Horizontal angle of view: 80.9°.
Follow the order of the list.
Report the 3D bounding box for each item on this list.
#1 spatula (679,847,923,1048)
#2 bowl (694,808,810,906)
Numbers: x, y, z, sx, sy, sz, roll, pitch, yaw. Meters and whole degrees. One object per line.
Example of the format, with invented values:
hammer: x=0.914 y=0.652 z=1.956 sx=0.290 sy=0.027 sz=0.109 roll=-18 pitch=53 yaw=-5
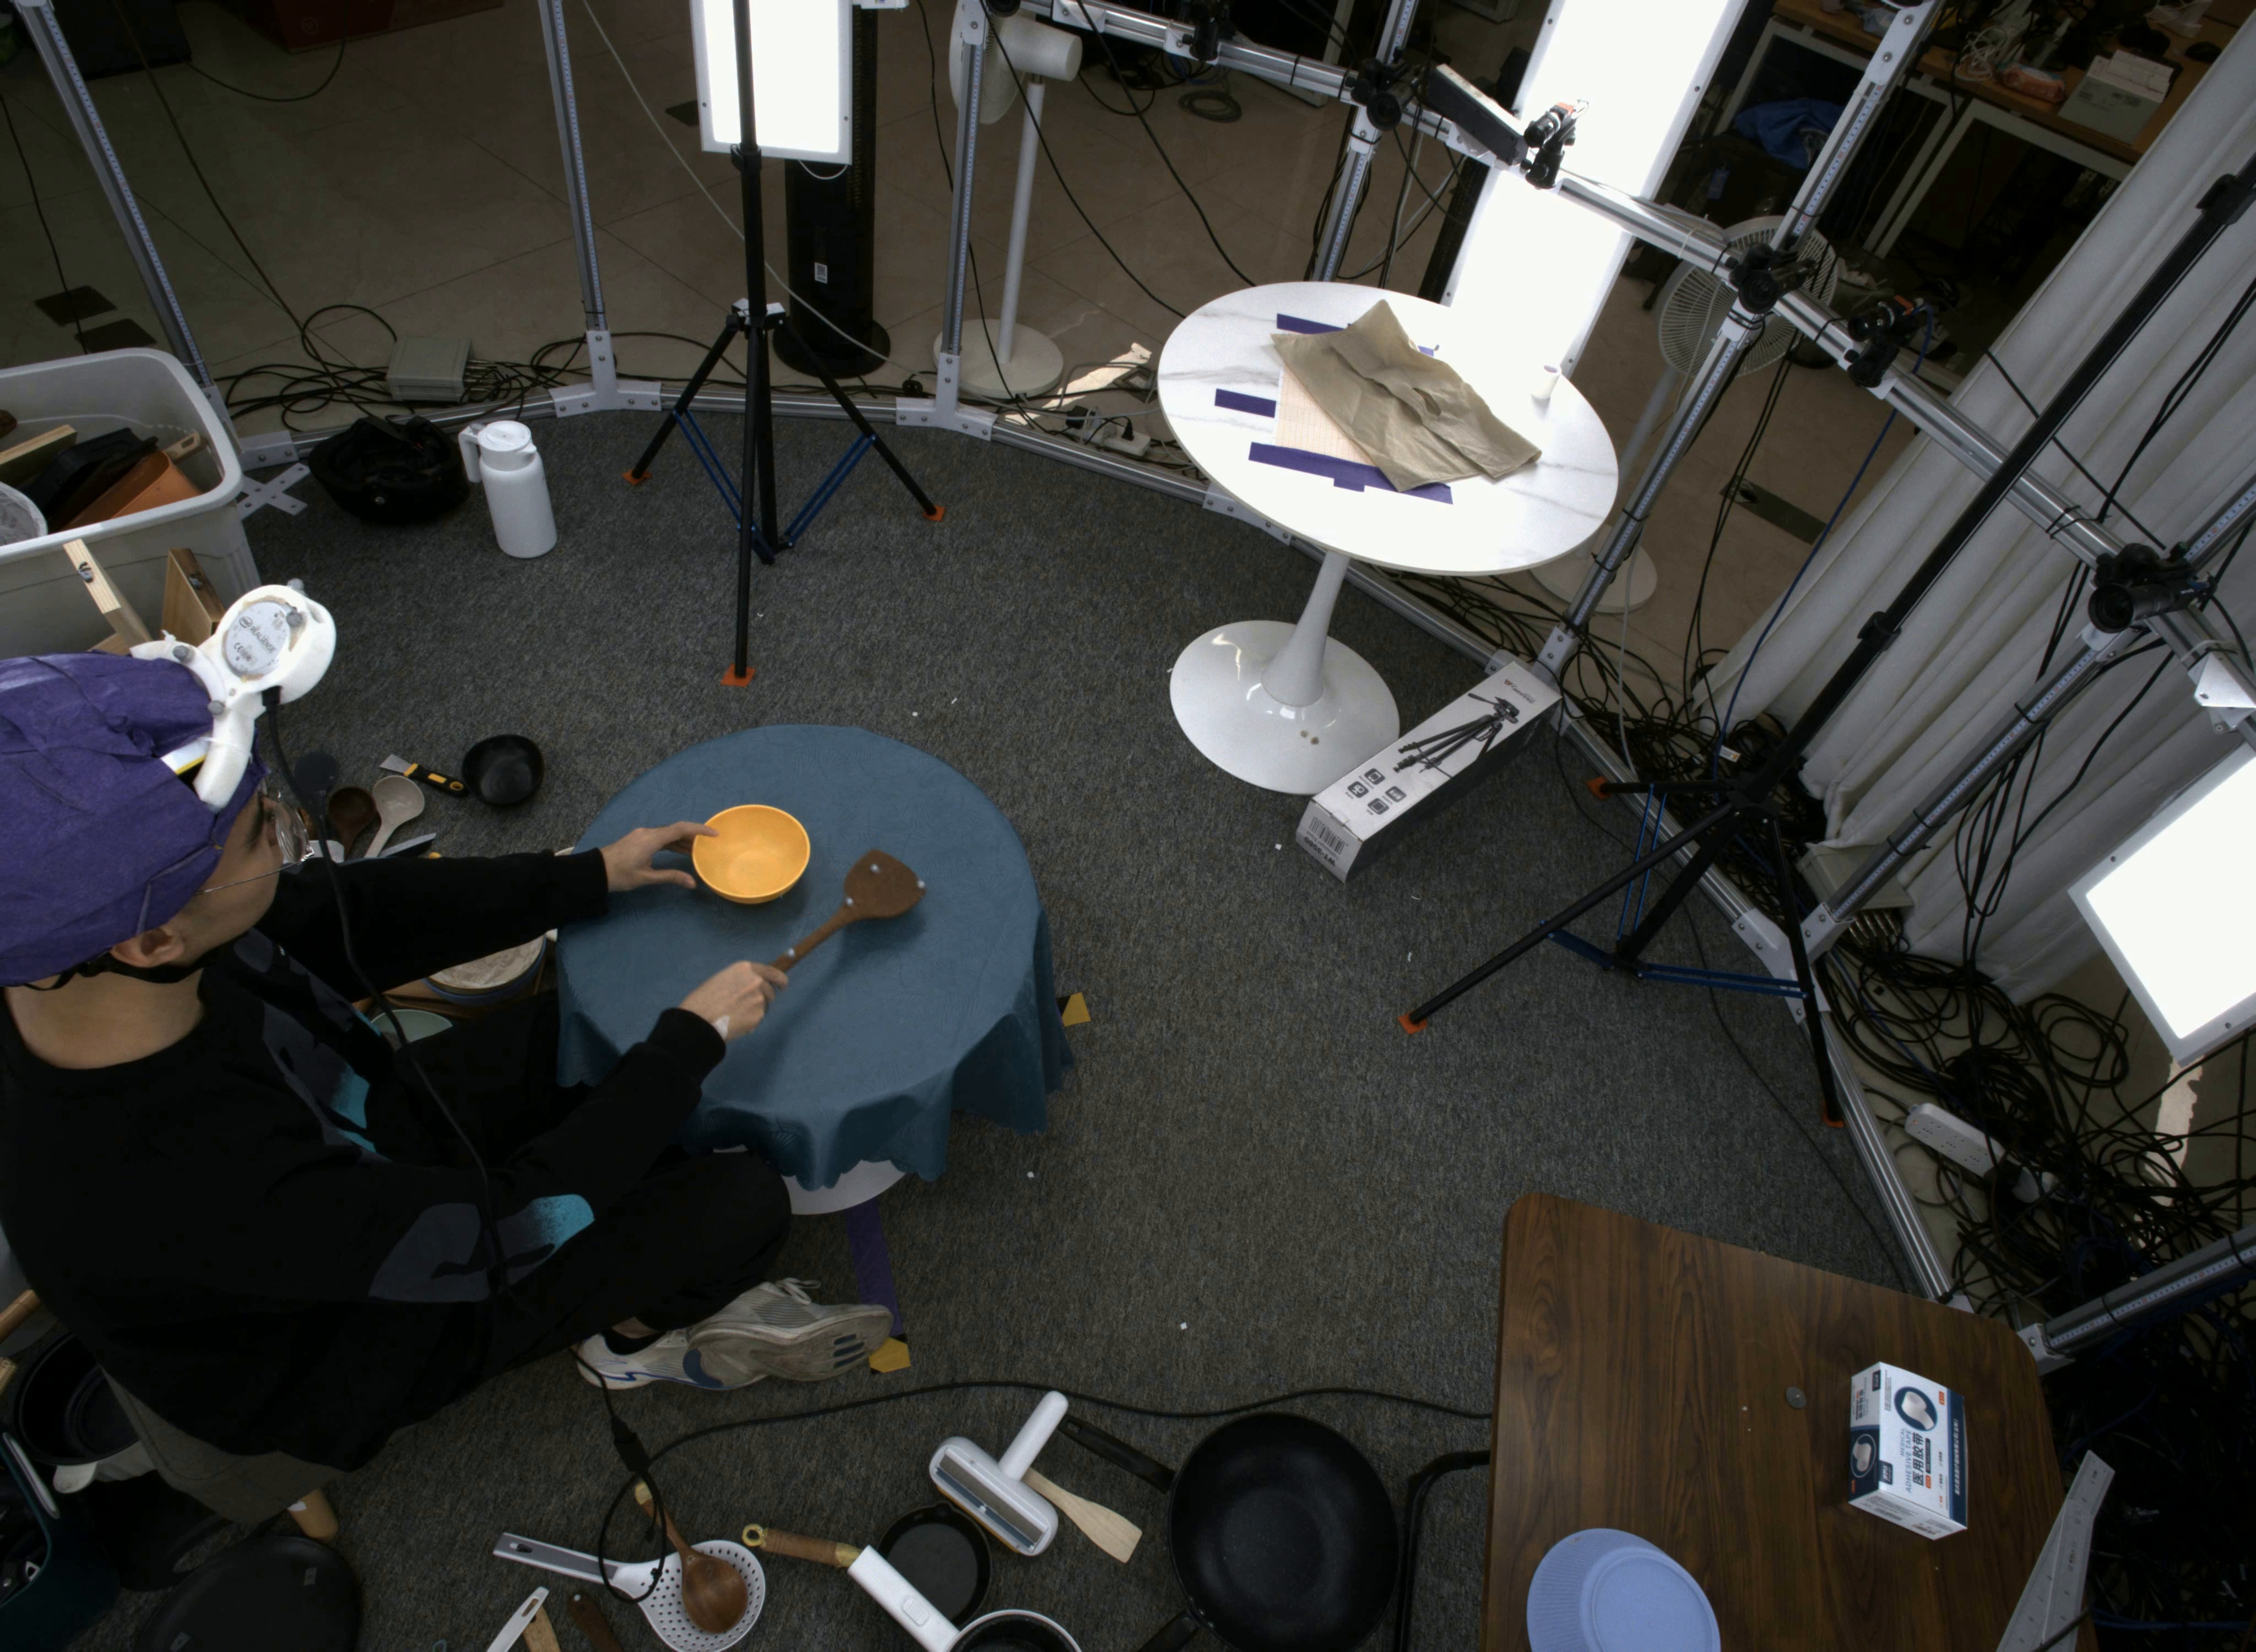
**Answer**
spatula: x=-0.385 y=0.140 z=1.530 sx=0.095 sy=0.016 sz=0.386 roll=38 pitch=43 yaw=8
bowl: x=-0.475 y=0.049 z=1.644 sx=0.144 sy=0.061 sz=0.142 roll=6 pitch=51 yaw=-6
